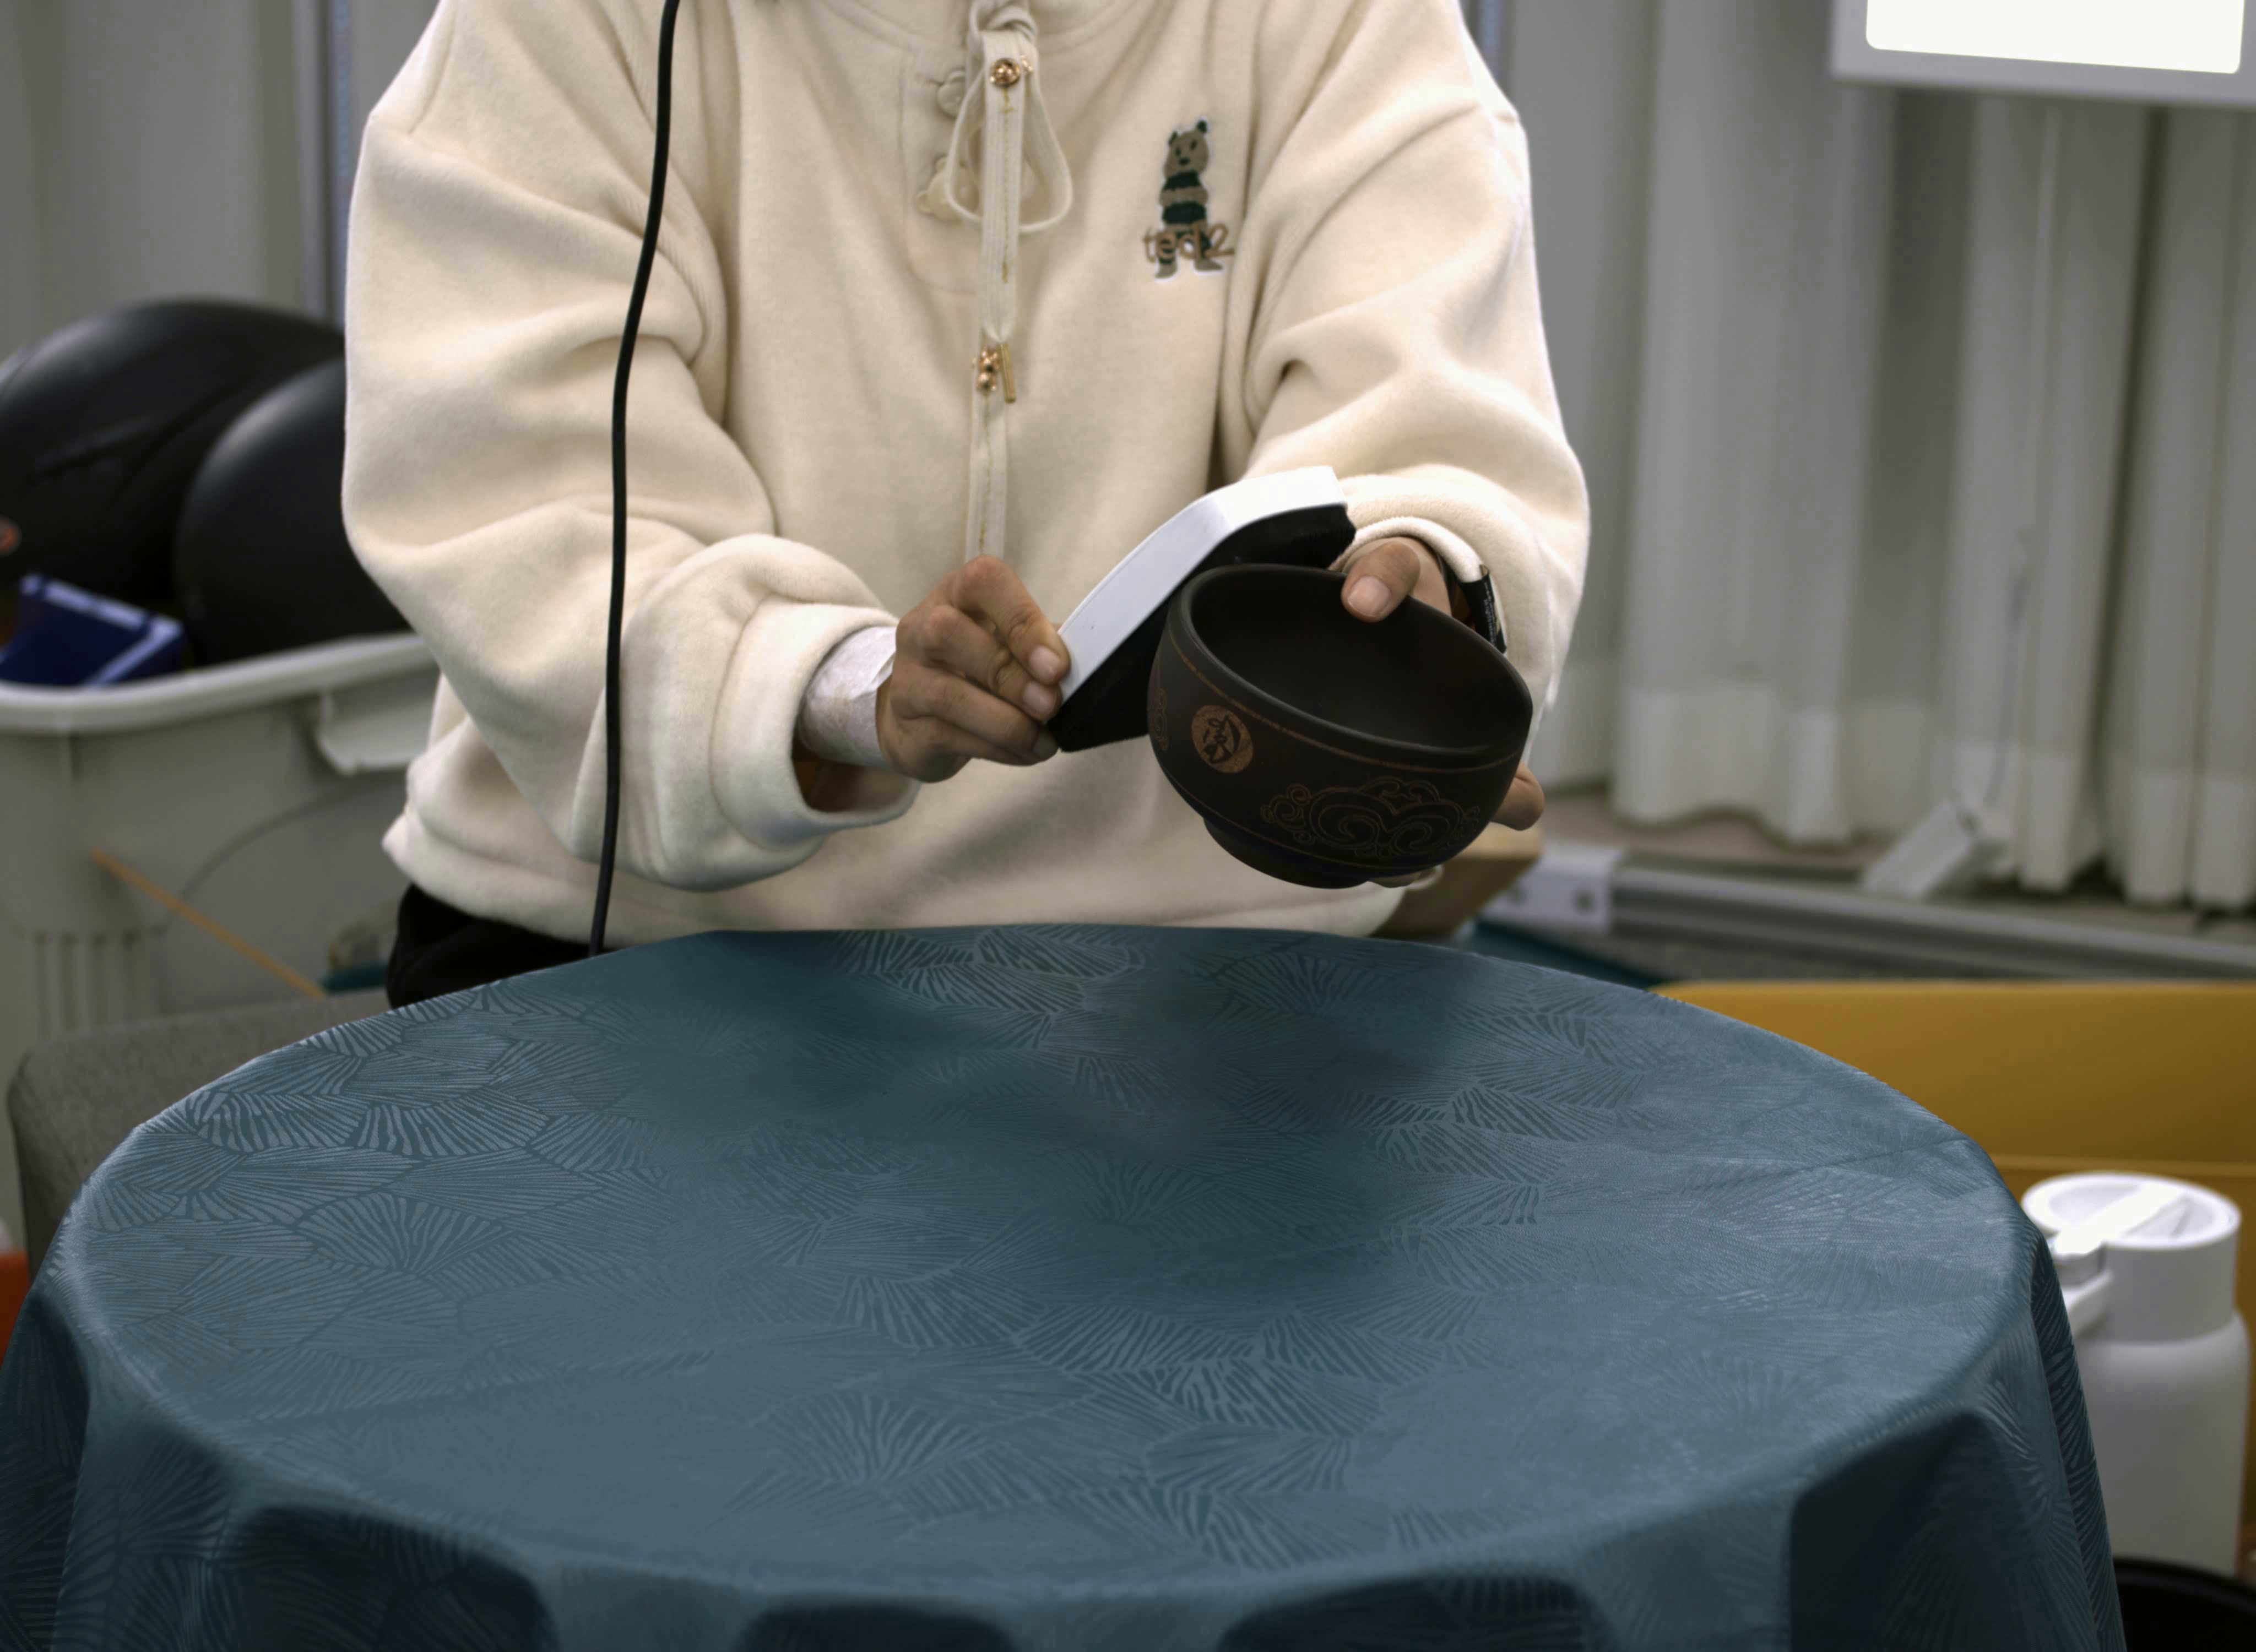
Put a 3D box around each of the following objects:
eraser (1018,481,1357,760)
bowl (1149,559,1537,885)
[{"bbox_3d":[0.019,-0.069,1.705,0.064,0.034,0.131,-13,-22,-43],"label":"eraser"},{"bbox_3d":[0.061,-0.025,1.627,0.118,0.070,0.117,17,25,-8],"label":"bowl"}]
